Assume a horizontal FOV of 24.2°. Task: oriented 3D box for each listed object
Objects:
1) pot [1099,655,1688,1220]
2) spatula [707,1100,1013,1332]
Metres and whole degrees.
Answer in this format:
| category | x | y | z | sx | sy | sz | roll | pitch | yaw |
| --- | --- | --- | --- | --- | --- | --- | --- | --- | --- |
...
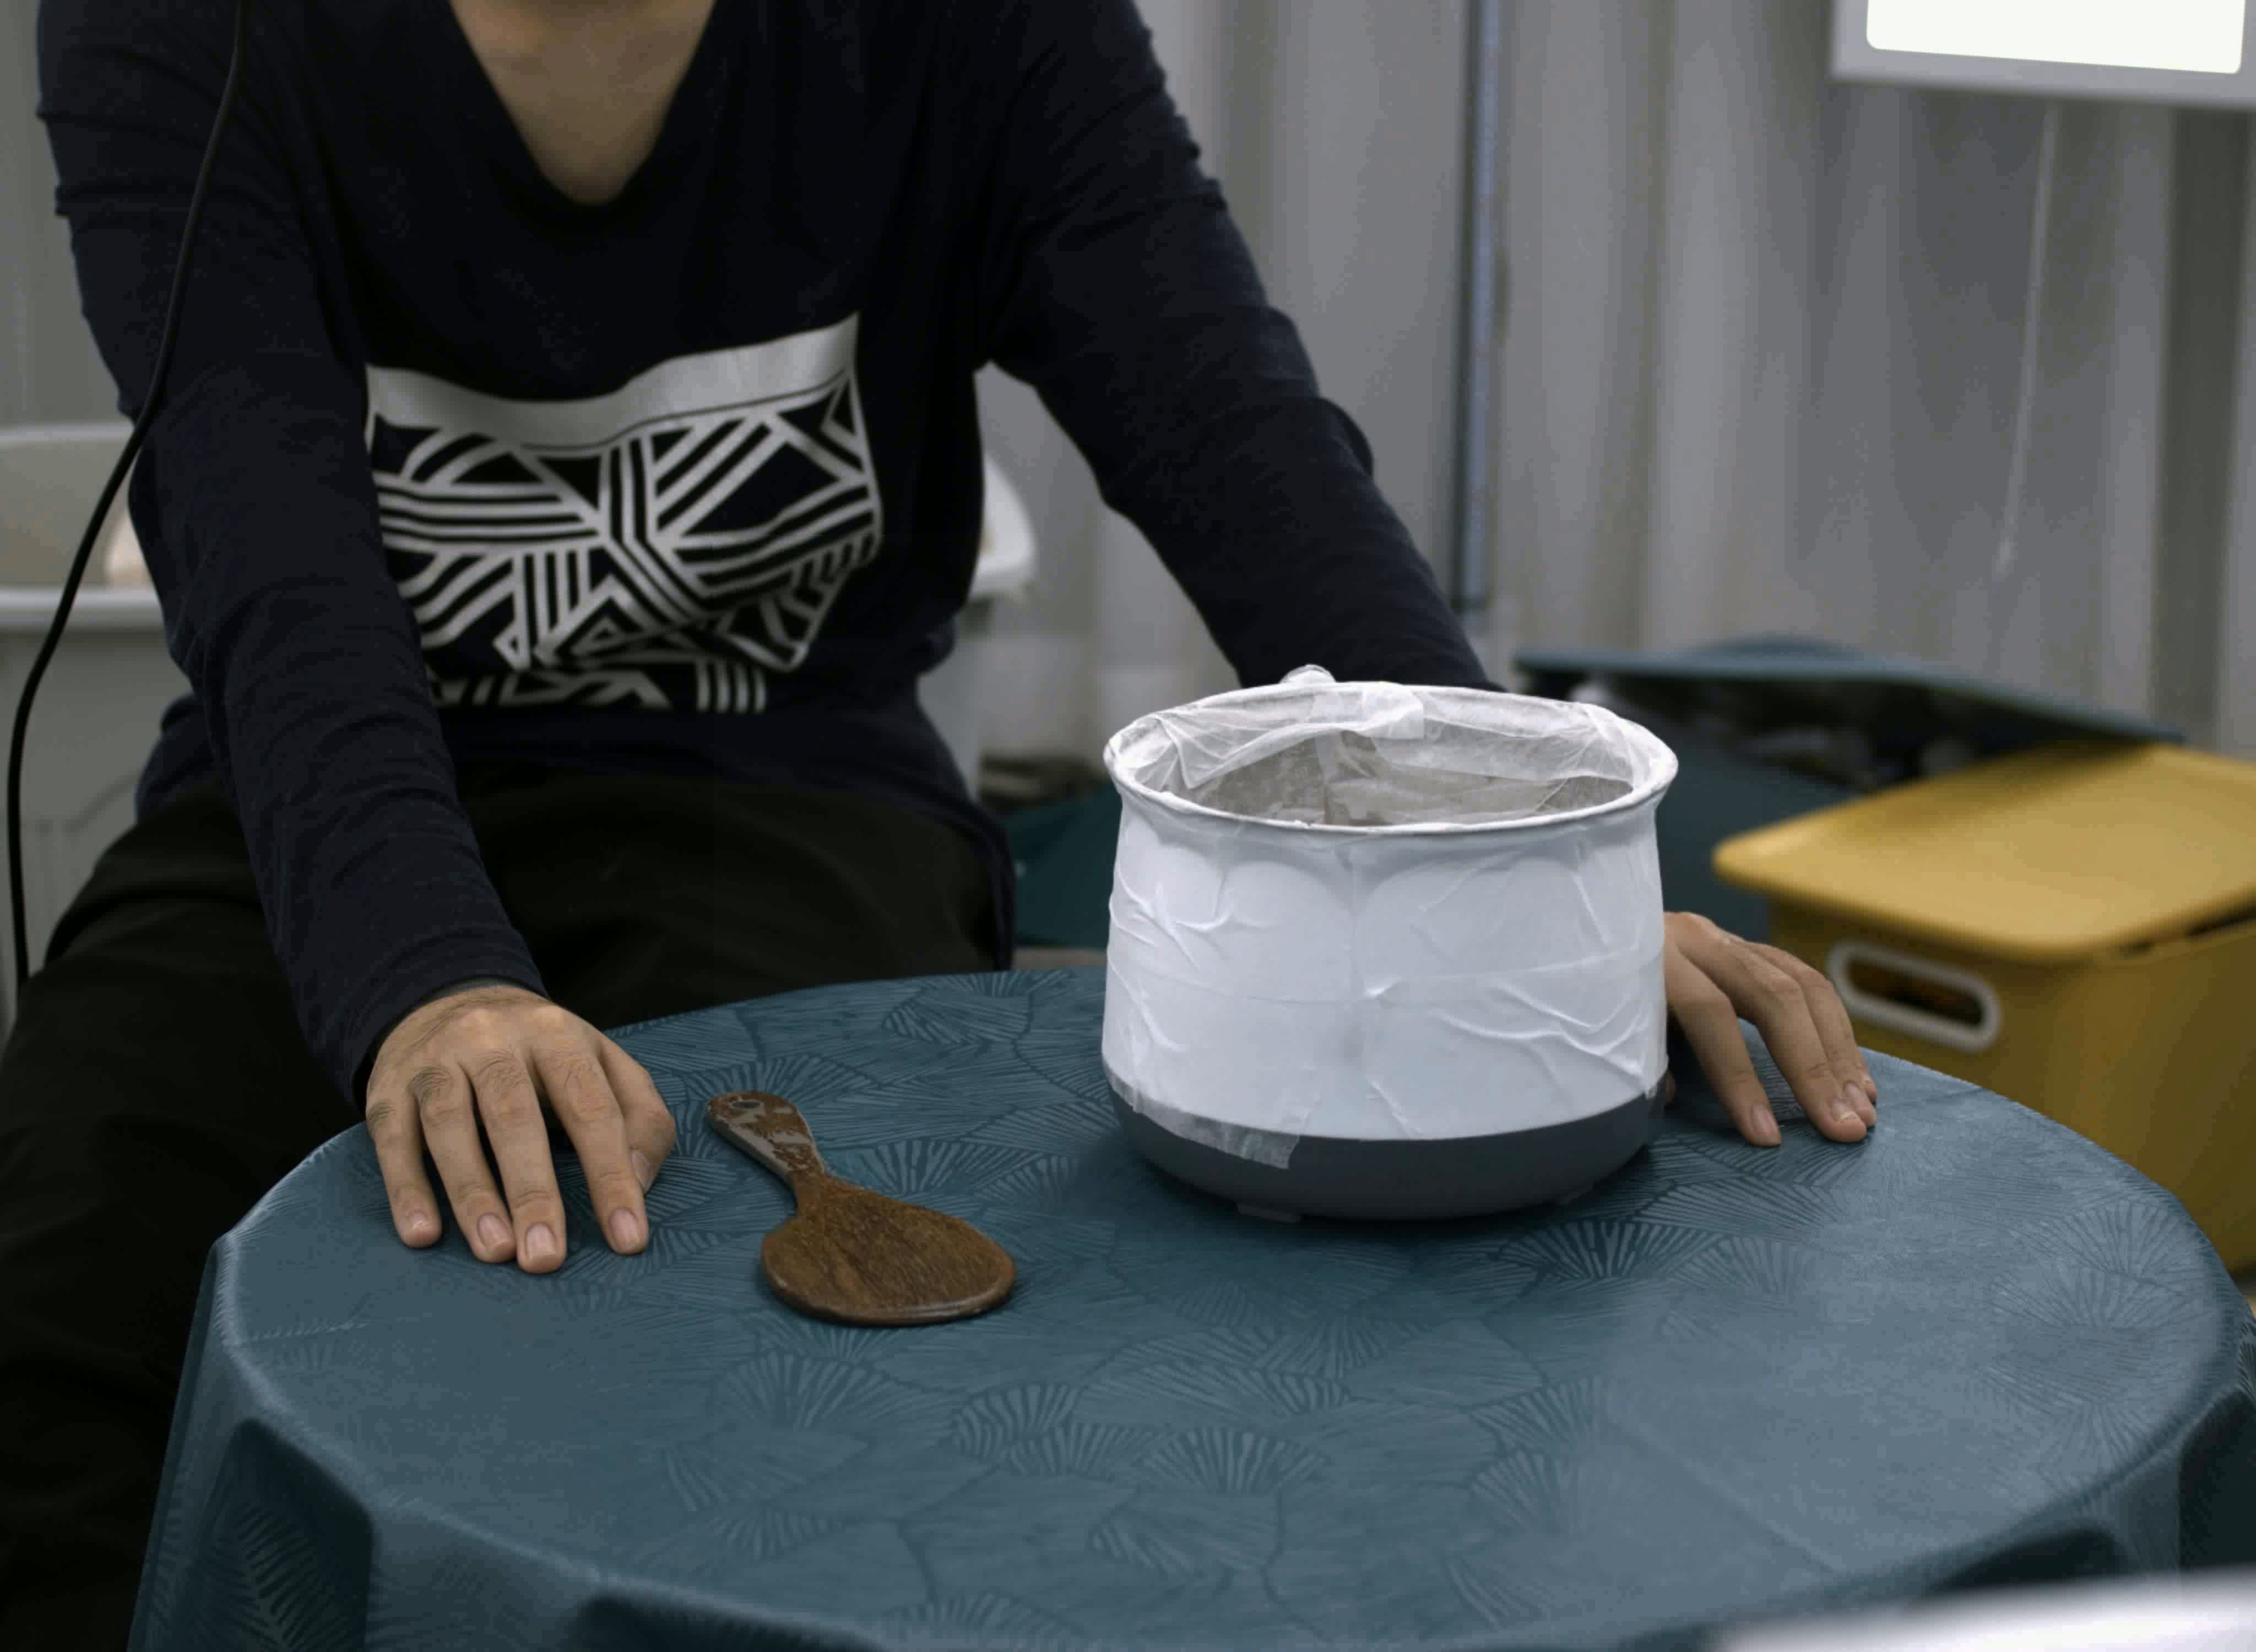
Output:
| category | x | y | z | sx | sy | sz | roll | pitch | yaw |
| --- | --- | --- | --- | --- | --- | --- | --- | --- | --- |
| pot | 0.074 | 0.030 | 1.663 | 0.179 | 0.137 | 0.231 | -1 | 17 | -15 |
| spatula | -0.092 | 0.115 | 1.604 | 0.072 | 0.009 | 0.213 | -3 | 15 | -18 |
